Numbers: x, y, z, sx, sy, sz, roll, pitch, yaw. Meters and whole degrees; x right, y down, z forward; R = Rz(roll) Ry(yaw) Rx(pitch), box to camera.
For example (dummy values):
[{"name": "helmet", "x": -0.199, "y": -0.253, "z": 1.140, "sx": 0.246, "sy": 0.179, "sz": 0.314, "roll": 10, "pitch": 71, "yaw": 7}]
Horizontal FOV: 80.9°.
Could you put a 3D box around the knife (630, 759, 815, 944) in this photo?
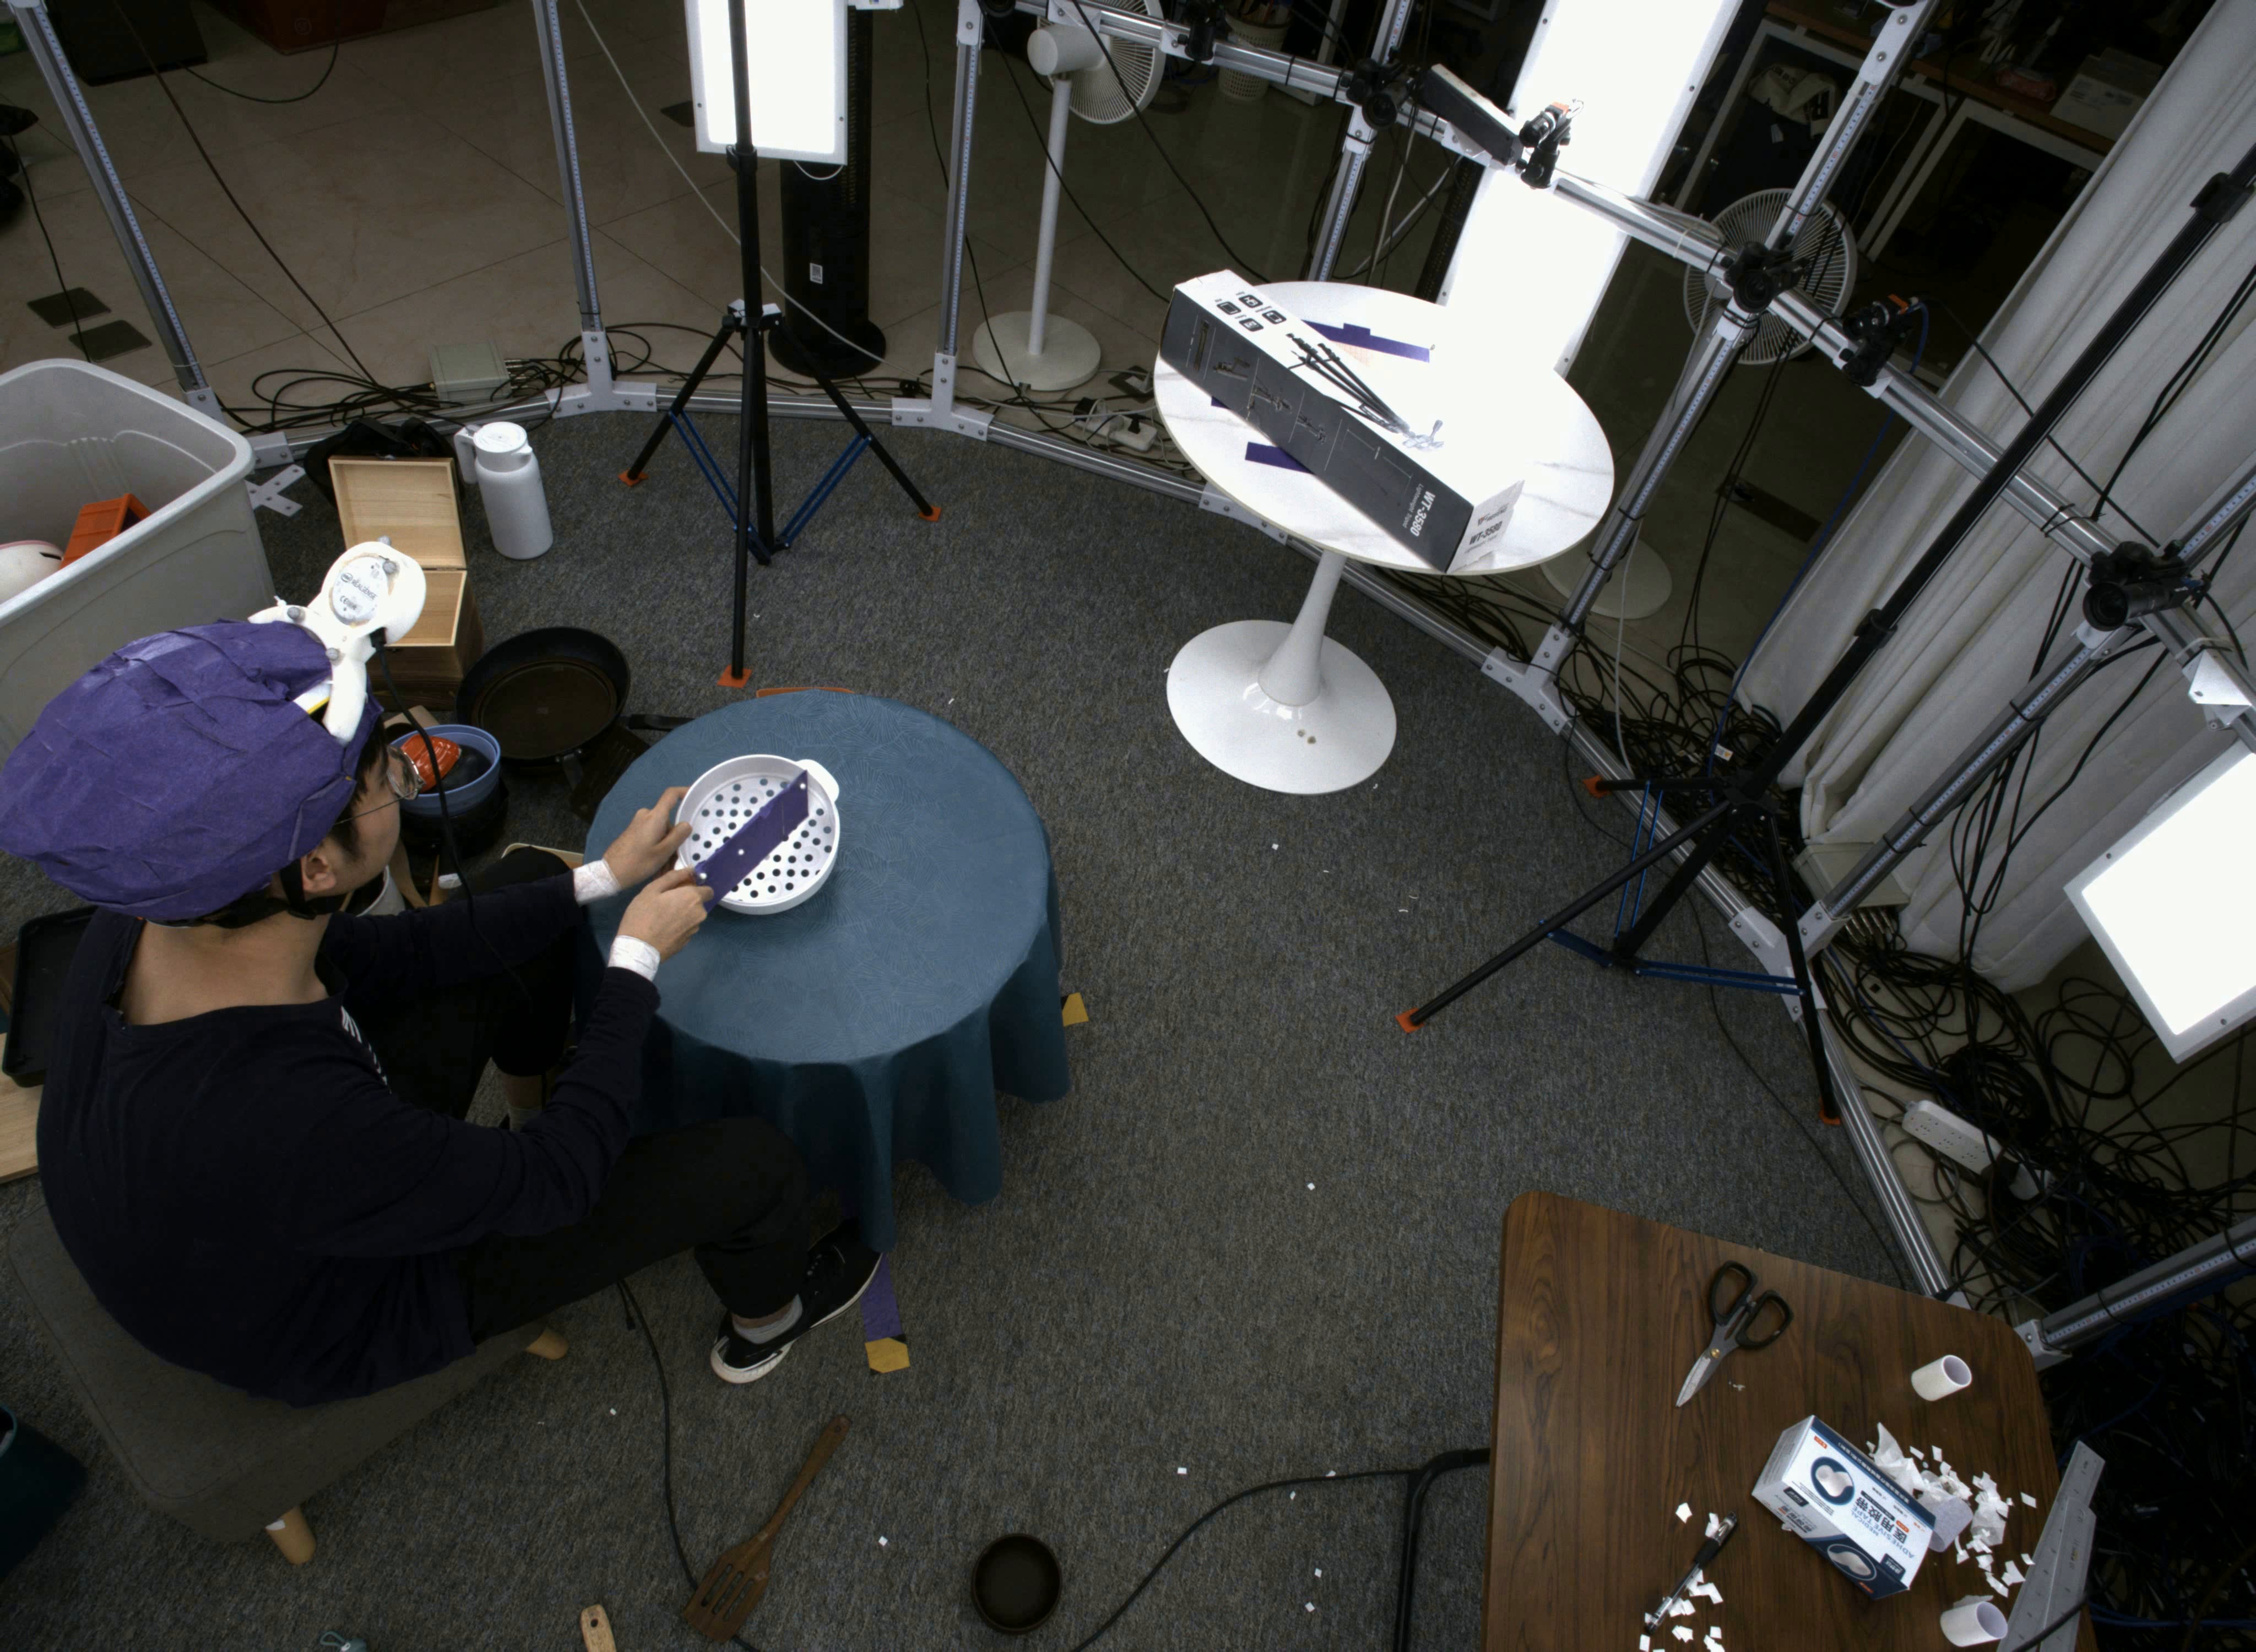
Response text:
[{"name": "knife", "x": -0.474, "y": 0.045, "z": 1.549, "sx": 0.031, "sy": 0.106, "sz": 0.314, "roll": 27, "pitch": 49, "yaw": 14}]

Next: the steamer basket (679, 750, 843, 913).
[{"name": "steamer basket", "x": -0.462, "y": 0.008, "z": 1.644, "sx": 0.201, "sy": 0.069, "sz": 0.230, "roll": 45, "pitch": 74, "yaw": 5}]
